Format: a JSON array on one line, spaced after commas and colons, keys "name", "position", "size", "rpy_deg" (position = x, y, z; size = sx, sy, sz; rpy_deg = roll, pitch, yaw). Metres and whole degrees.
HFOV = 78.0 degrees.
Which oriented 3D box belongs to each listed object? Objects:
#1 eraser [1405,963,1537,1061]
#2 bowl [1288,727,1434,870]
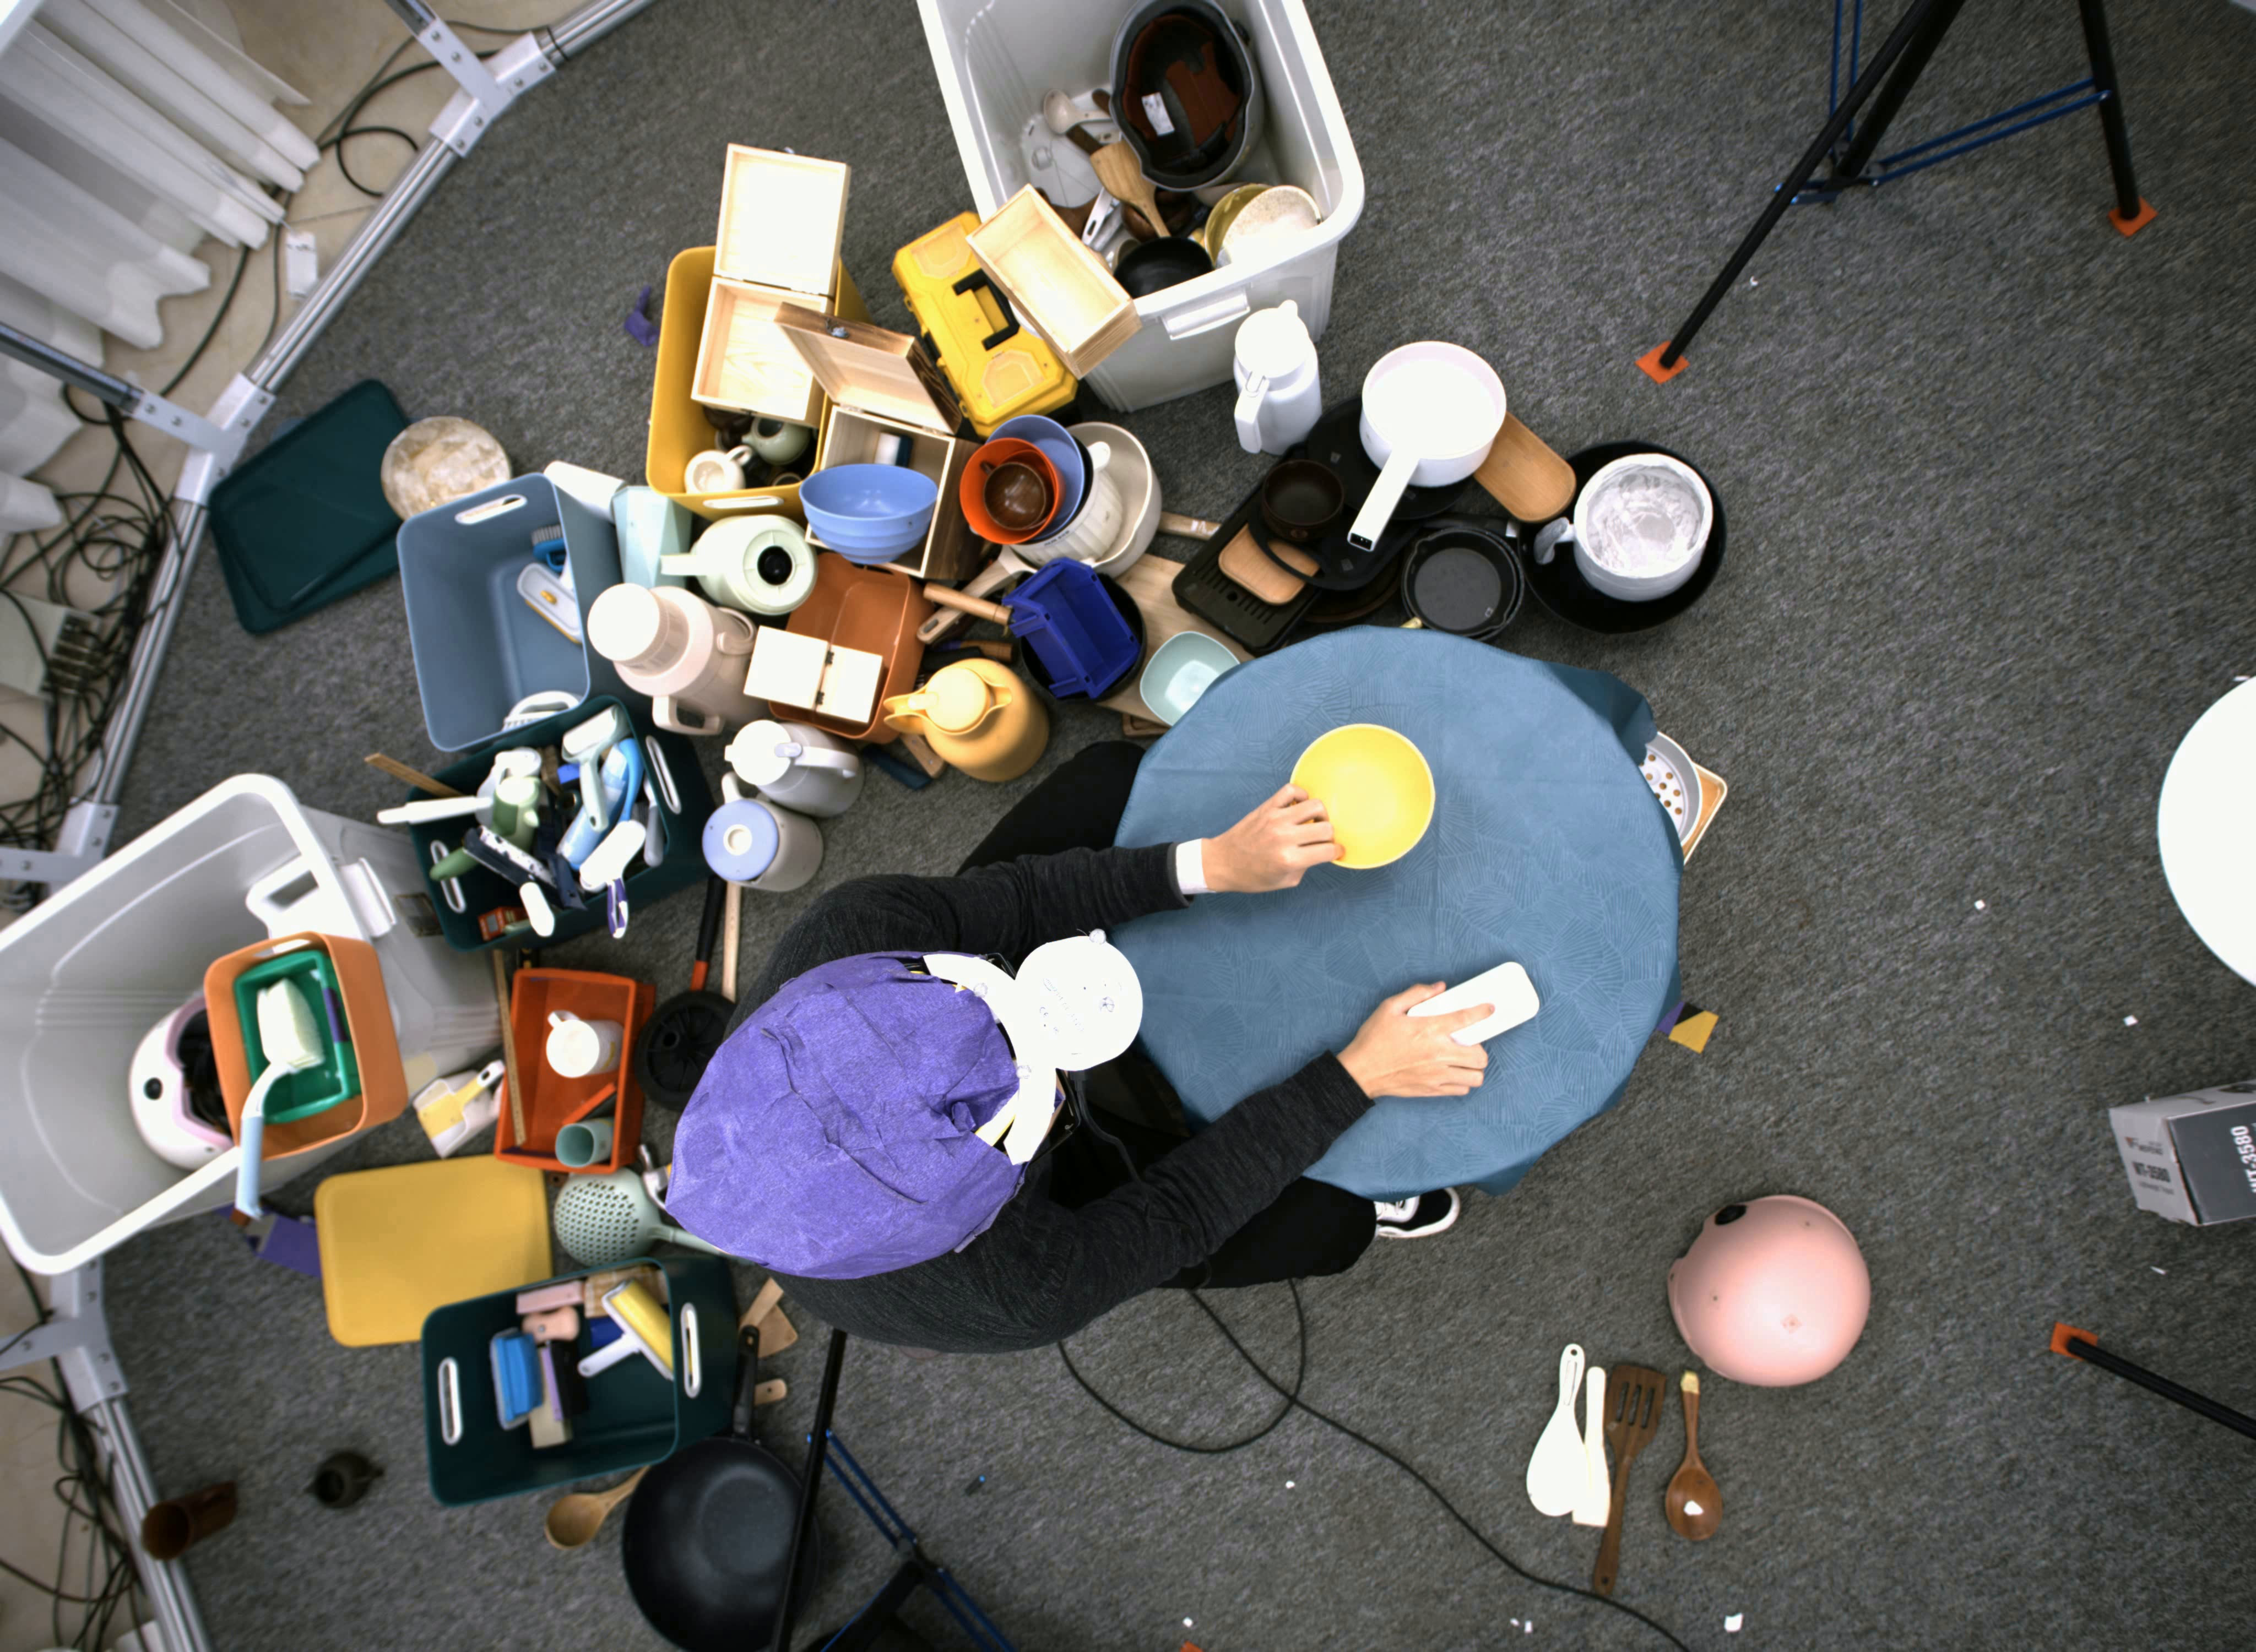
[{"name": "eraser", "position": [0.350, 0.187, 1.414], "size": [0.132, 0.034, 0.063], "rpy_deg": [-25, 88, 5]}, {"name": "bowl", "position": [0.238, -0.025, 1.390], "size": [0.146, 0.060, 0.144], "rpy_deg": [-2, 84, 17]}]
